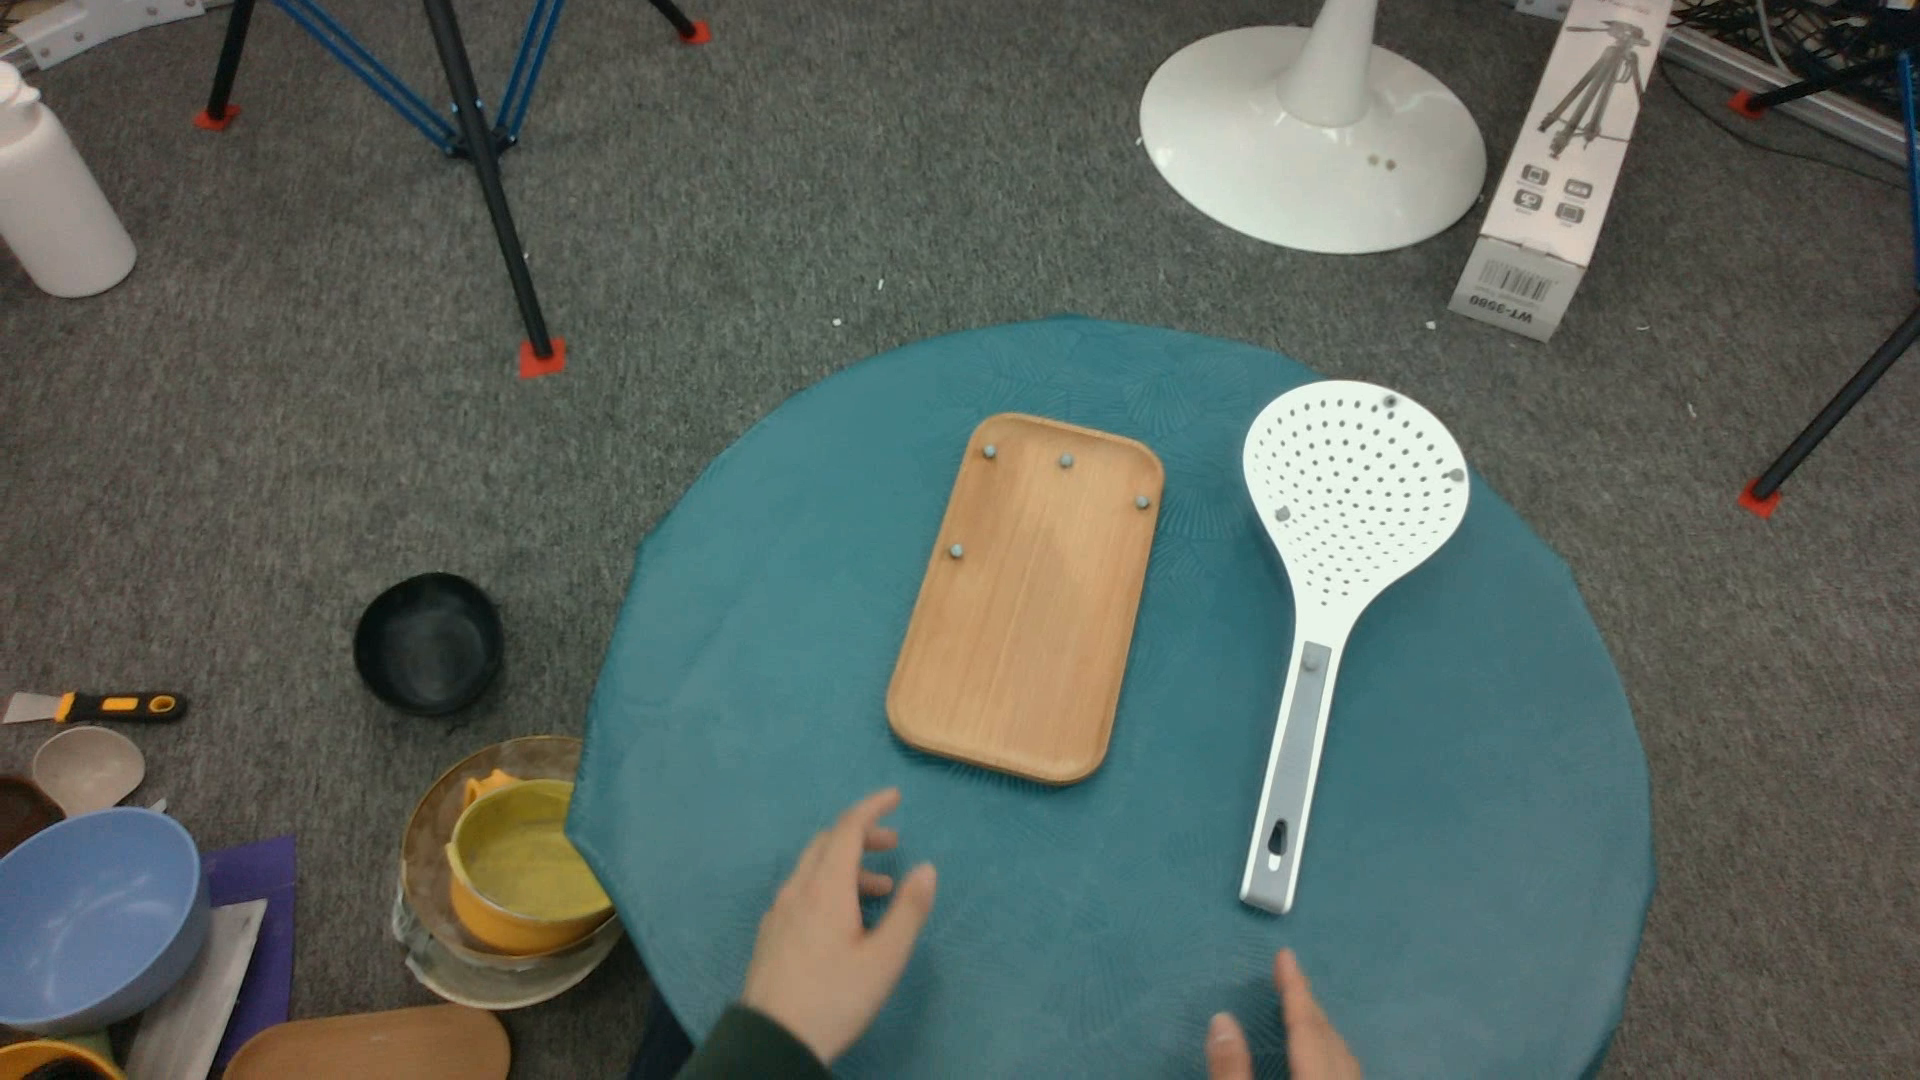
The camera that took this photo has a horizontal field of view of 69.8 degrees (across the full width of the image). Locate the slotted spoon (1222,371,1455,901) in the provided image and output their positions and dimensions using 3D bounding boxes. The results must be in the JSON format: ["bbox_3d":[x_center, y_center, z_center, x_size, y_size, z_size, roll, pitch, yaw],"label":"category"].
[{"bbox_3d":[0.205,0.043,0.806,0.136,0.045,0.351,16,56,9],"label":"slotted spoon"}]

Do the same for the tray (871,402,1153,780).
[{"bbox_3d":[0.036,0.022,0.823,0.130,0.023,0.252,13,56,7],"label":"tray"}]
